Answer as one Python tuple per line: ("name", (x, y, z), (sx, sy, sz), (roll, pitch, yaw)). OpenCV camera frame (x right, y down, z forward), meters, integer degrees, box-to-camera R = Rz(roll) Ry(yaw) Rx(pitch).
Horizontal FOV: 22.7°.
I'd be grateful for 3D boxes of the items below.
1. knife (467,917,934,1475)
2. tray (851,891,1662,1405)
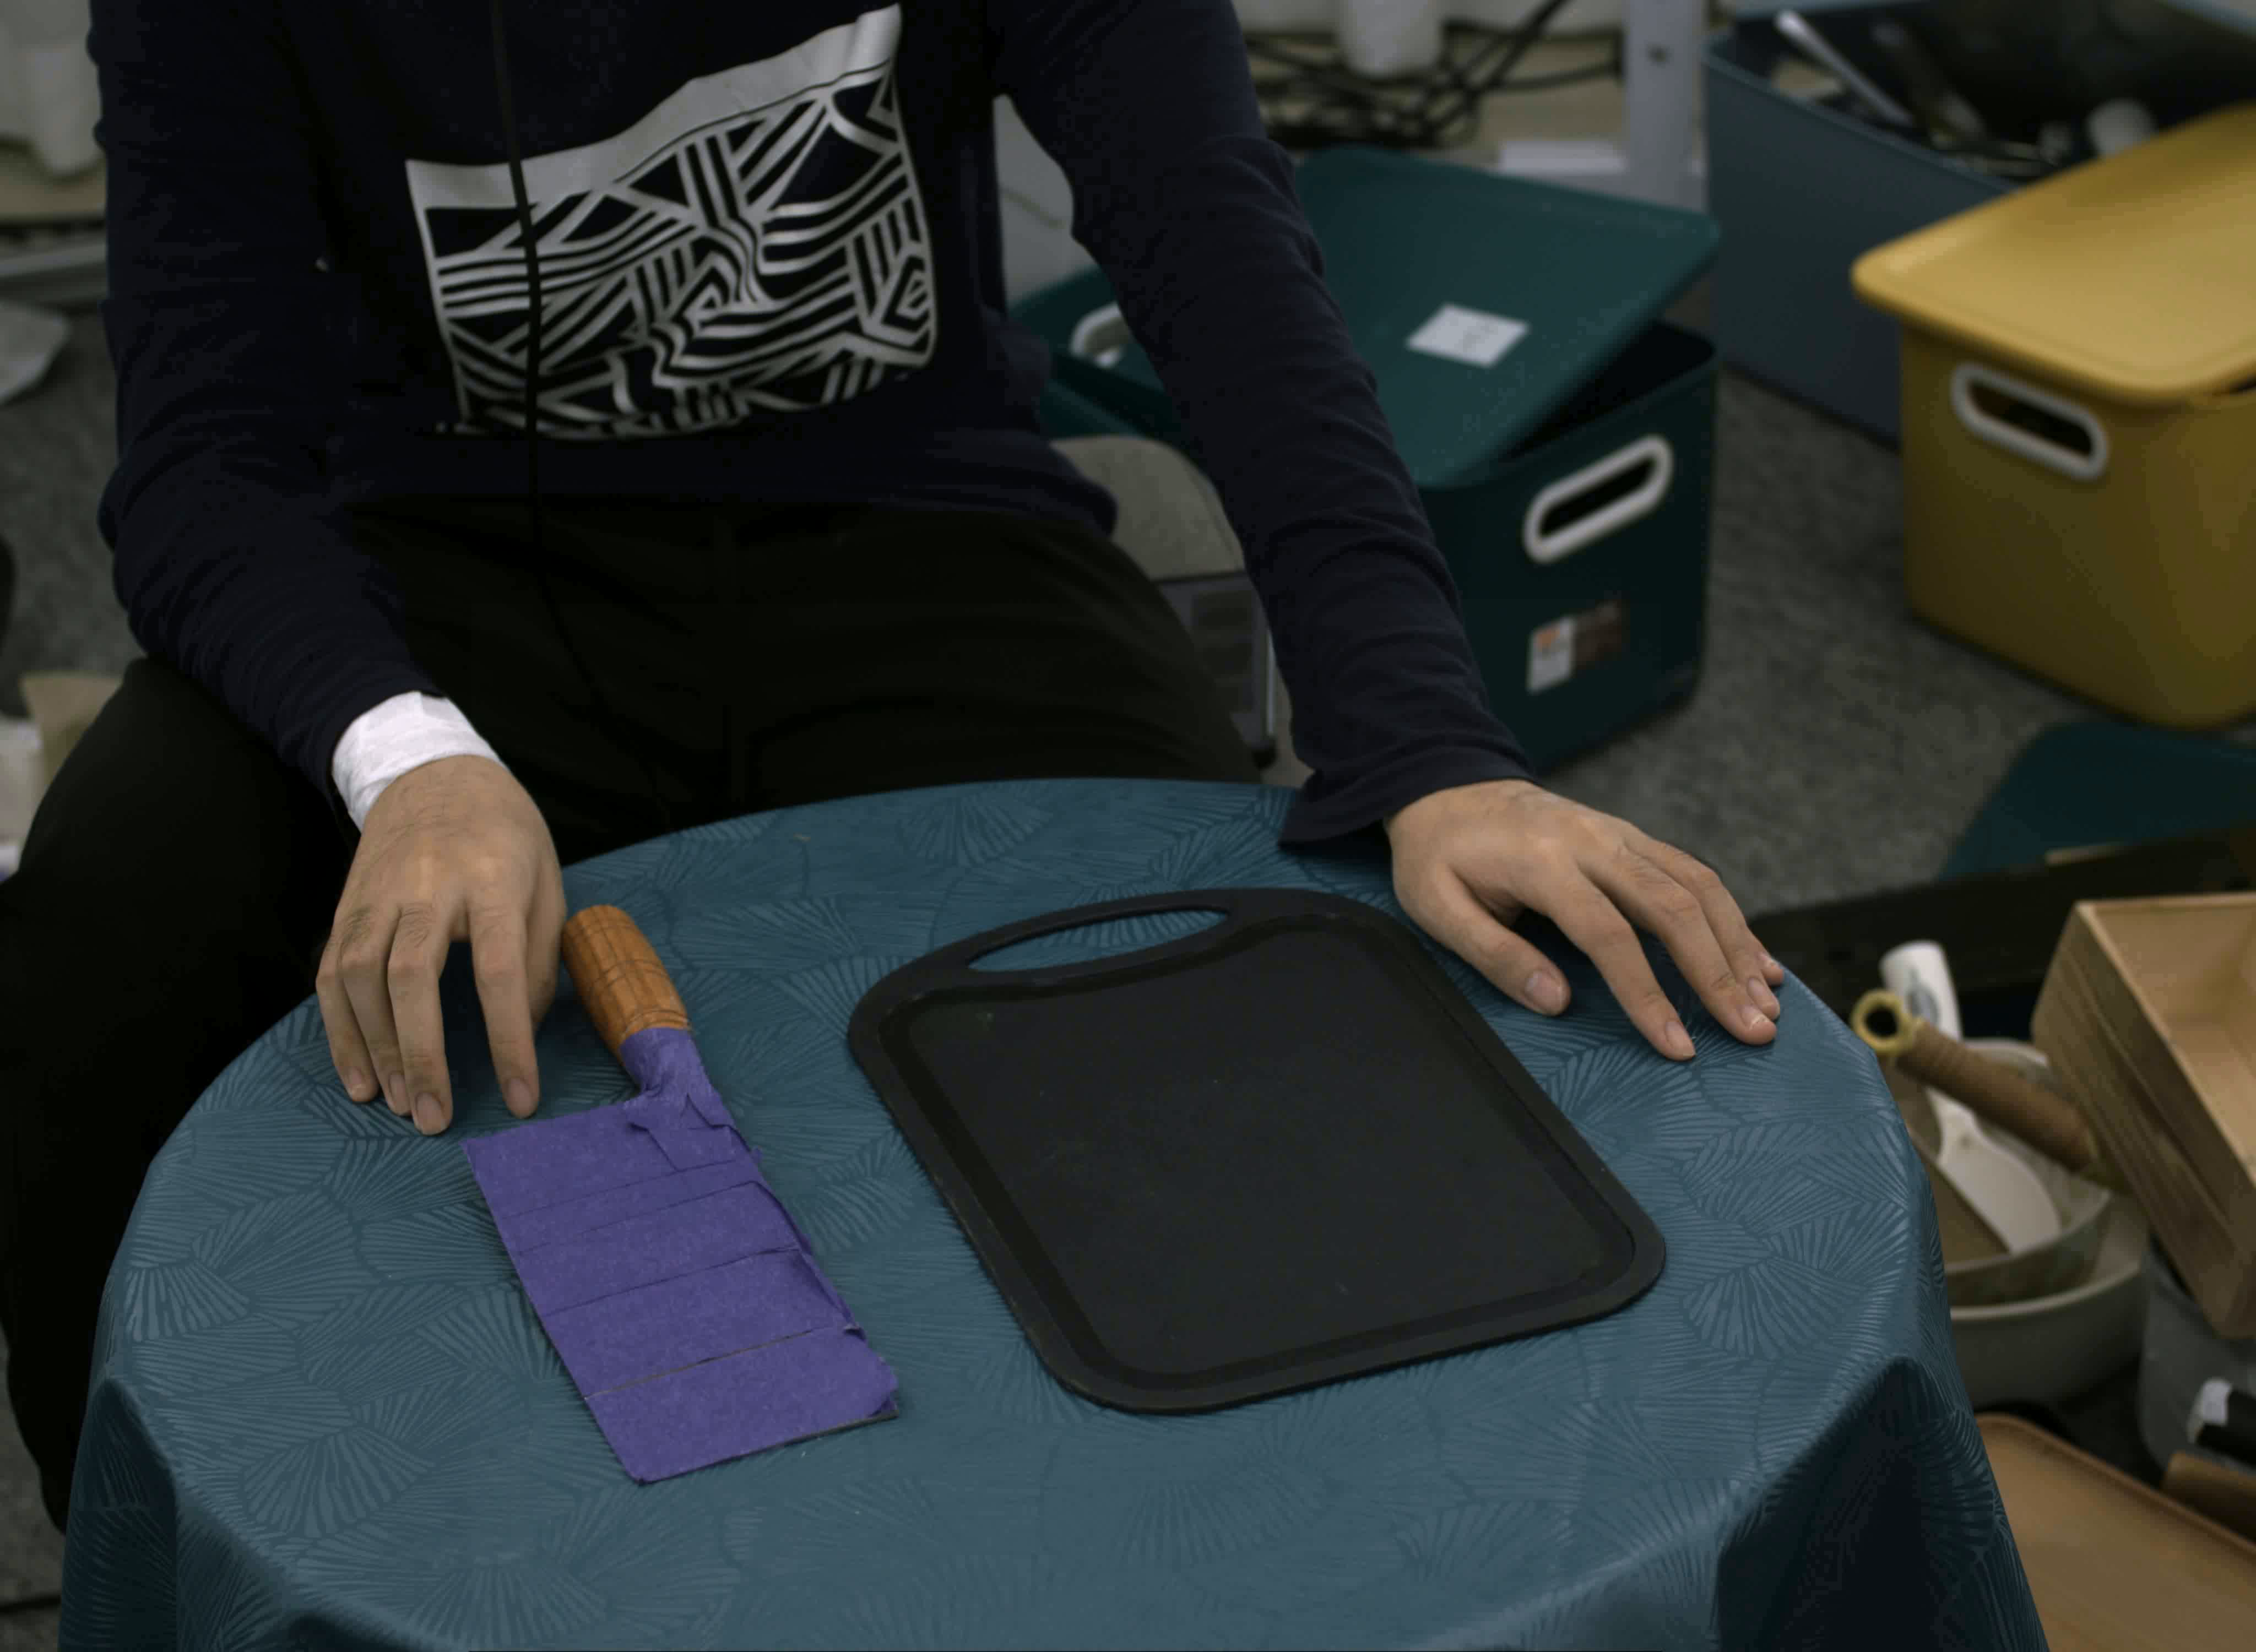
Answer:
("knife", (-0.164, 0.118, 1.856), (0.104, 0.032, 0.318), (-12, 29, -18))
("tray", (0.033, 0.099, 1.895), (0.211, 0.009, 0.328), (-11, 28, -16))
